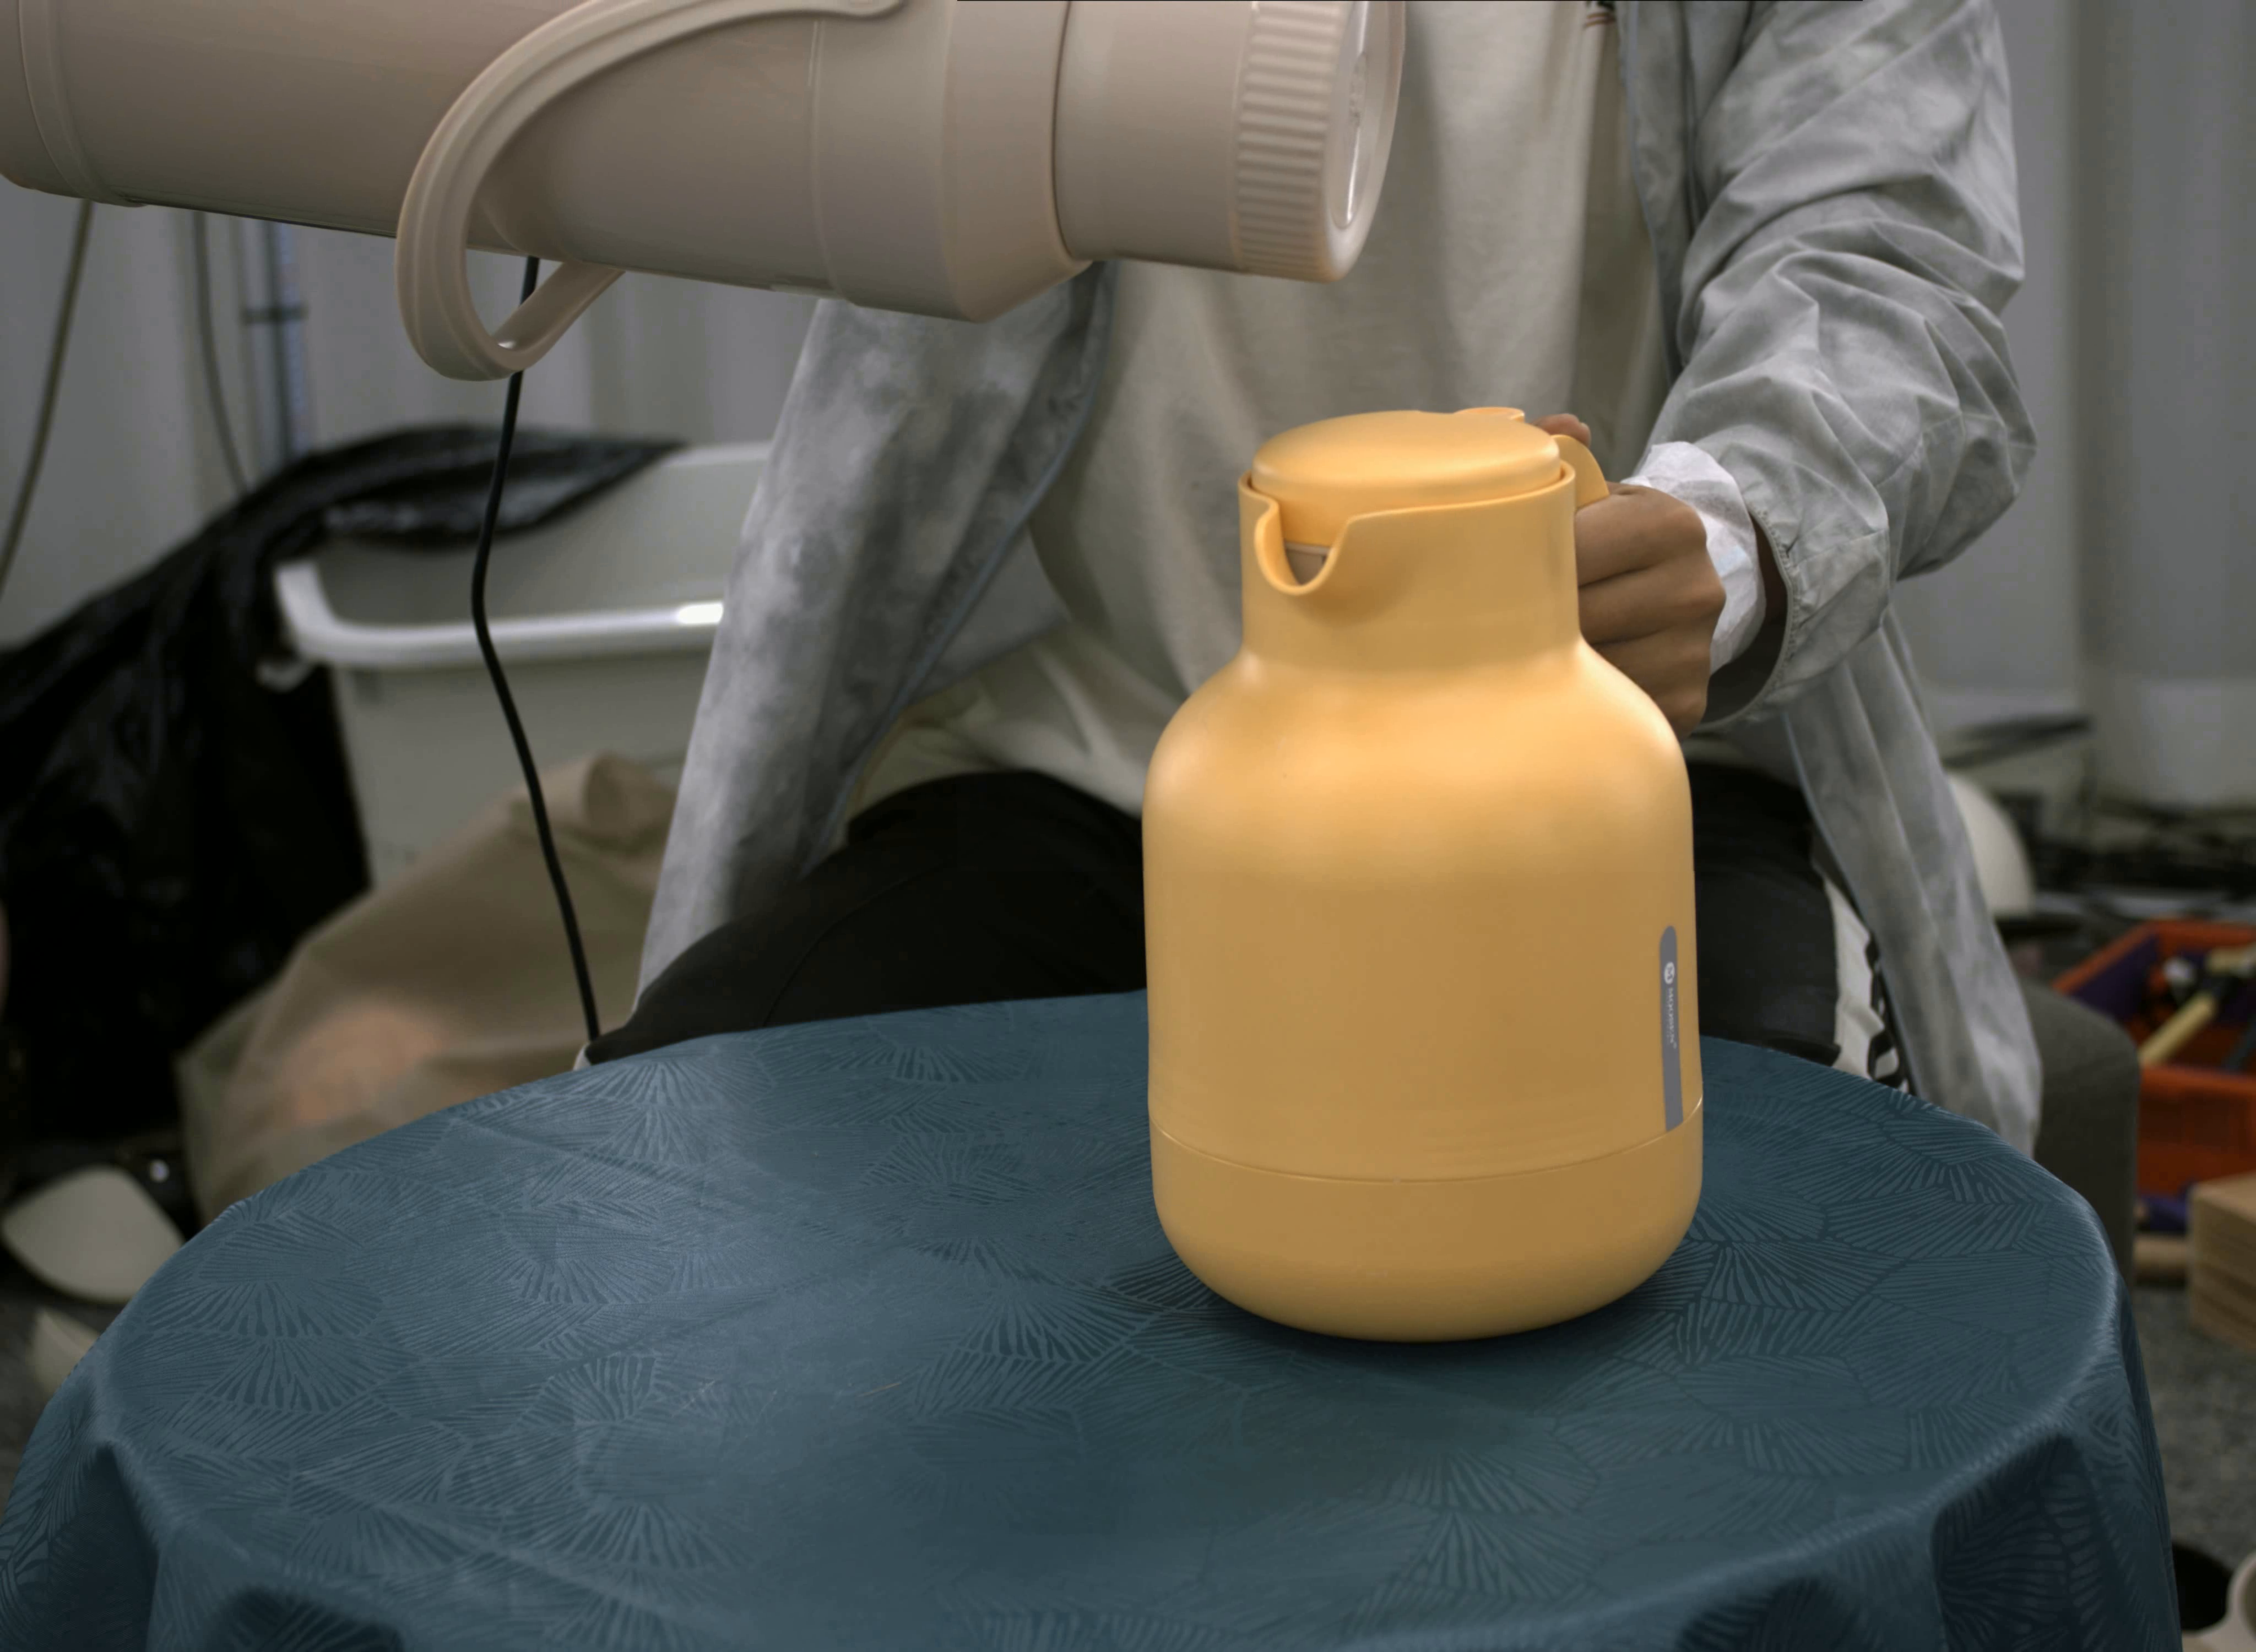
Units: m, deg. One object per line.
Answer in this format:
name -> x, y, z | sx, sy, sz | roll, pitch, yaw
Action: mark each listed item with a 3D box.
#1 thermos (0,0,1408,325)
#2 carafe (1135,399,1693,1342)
thermos -> -0.122, -0.251, 1.605 | 0.406, 0.208, 0.174 | 9, -6, 14
carafe -> 0.093, 0.005, 1.610 | 0.164, 0.259, 0.202 | 8, 18, 30
